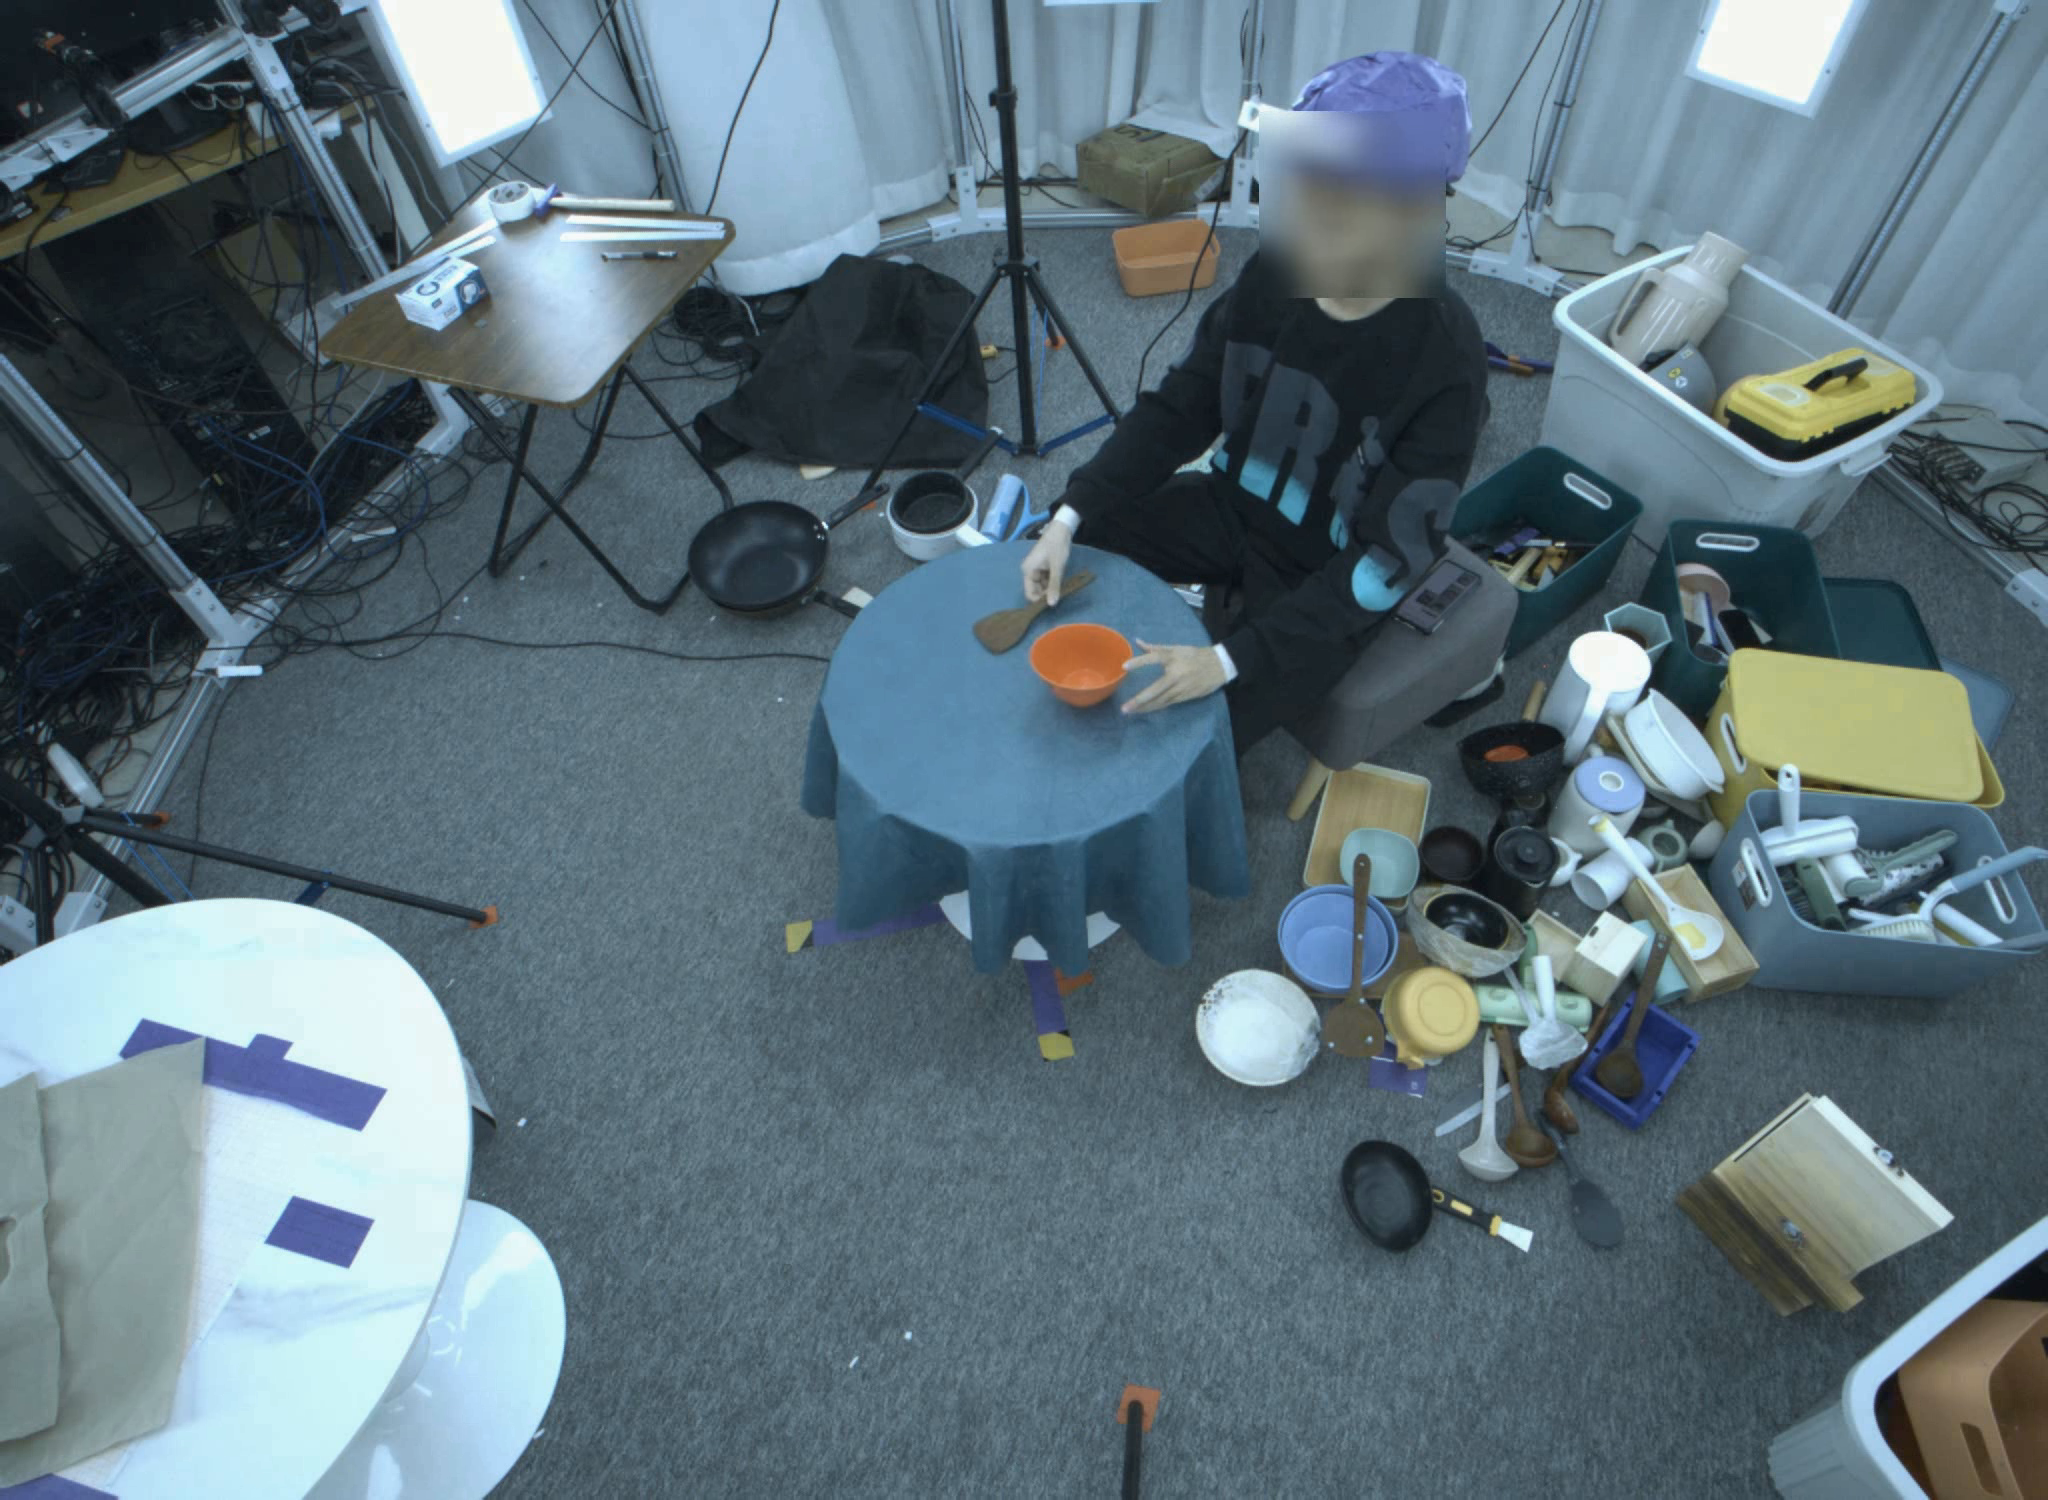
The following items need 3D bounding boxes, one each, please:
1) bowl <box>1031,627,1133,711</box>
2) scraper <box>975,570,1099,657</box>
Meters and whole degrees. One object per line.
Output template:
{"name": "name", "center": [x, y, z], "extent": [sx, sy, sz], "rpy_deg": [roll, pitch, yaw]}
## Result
{"name": "bowl", "center": [0.086, -0.107, 1.809], "extent": [0.148, 0.106, 0.146], "rpy_deg": [-1, 53, 2]}
{"name": "scraper", "center": [0.024, -0.220, 1.925], "extent": [0.212, 0.011, 0.074], "rpy_deg": [-33, 63, -6]}
